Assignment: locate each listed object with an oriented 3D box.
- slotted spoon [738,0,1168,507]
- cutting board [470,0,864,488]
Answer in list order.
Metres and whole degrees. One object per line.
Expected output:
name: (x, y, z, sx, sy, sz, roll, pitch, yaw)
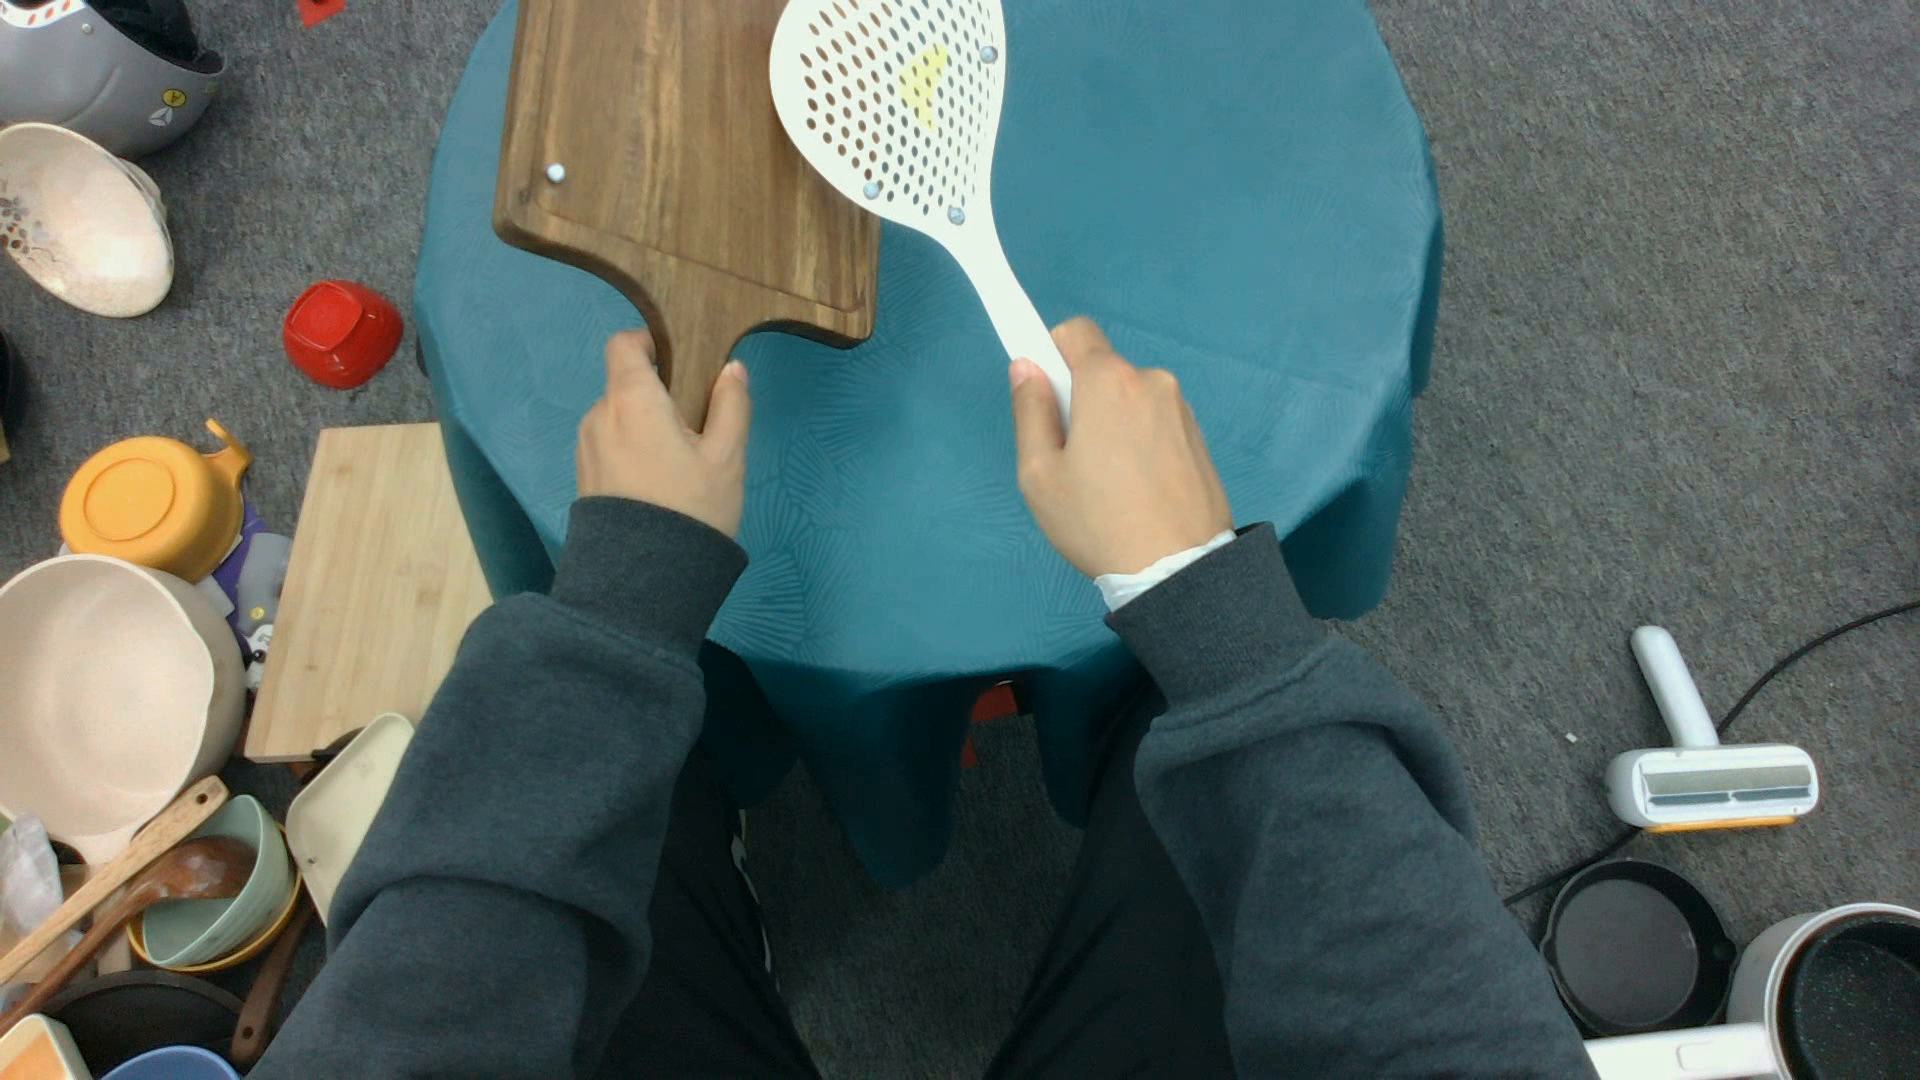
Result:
slotted spoon: (-0.001, -0.159, 0.642, 0.136, 0.050, 0.348, -37, 64, 25)
cutting board: (-0.137, -0.198, 0.682, 0.201, 0.023, 0.353, 12, 72, -36)
